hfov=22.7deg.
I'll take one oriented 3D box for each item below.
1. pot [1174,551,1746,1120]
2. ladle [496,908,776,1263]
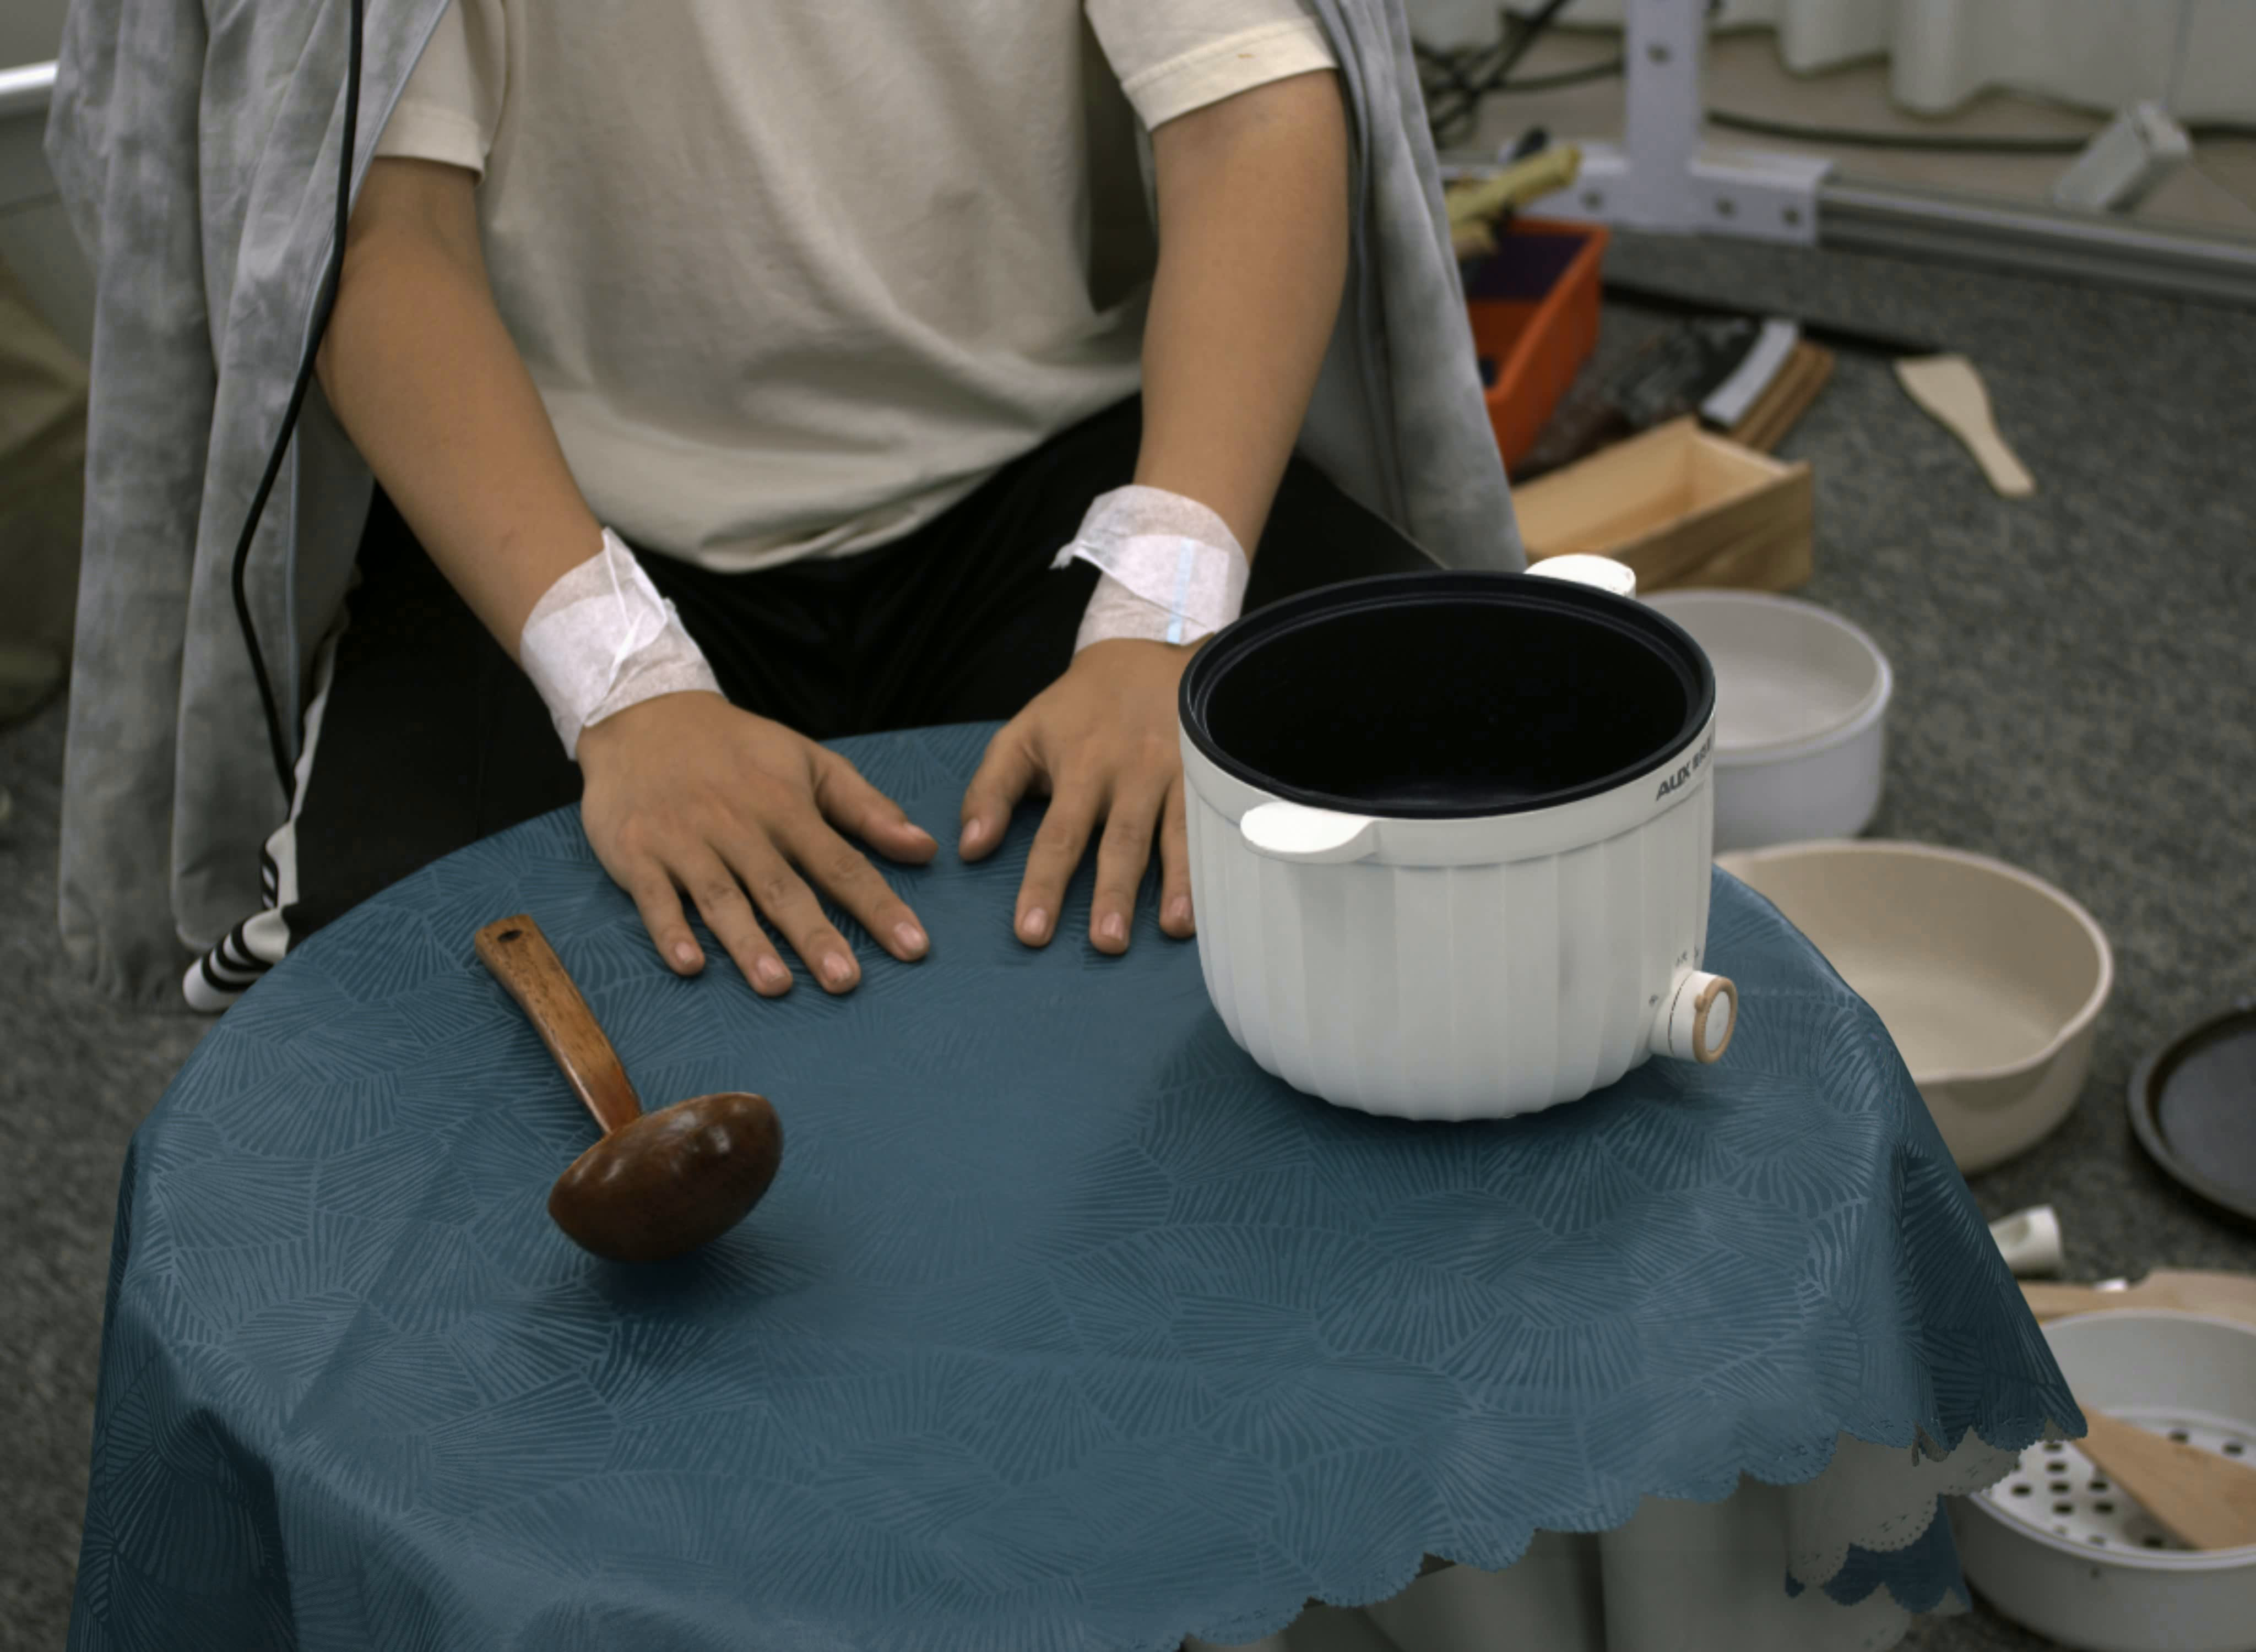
[{"bbox_3d":[0.116,0.011,1.913,0.189,0.141,0.244,8,30,29],"label":"pot"},{"bbox_3d":[-0.185,0.069,1.898,0.082,0.076,0.276,-18,30,-11],"label":"ladle"}]
